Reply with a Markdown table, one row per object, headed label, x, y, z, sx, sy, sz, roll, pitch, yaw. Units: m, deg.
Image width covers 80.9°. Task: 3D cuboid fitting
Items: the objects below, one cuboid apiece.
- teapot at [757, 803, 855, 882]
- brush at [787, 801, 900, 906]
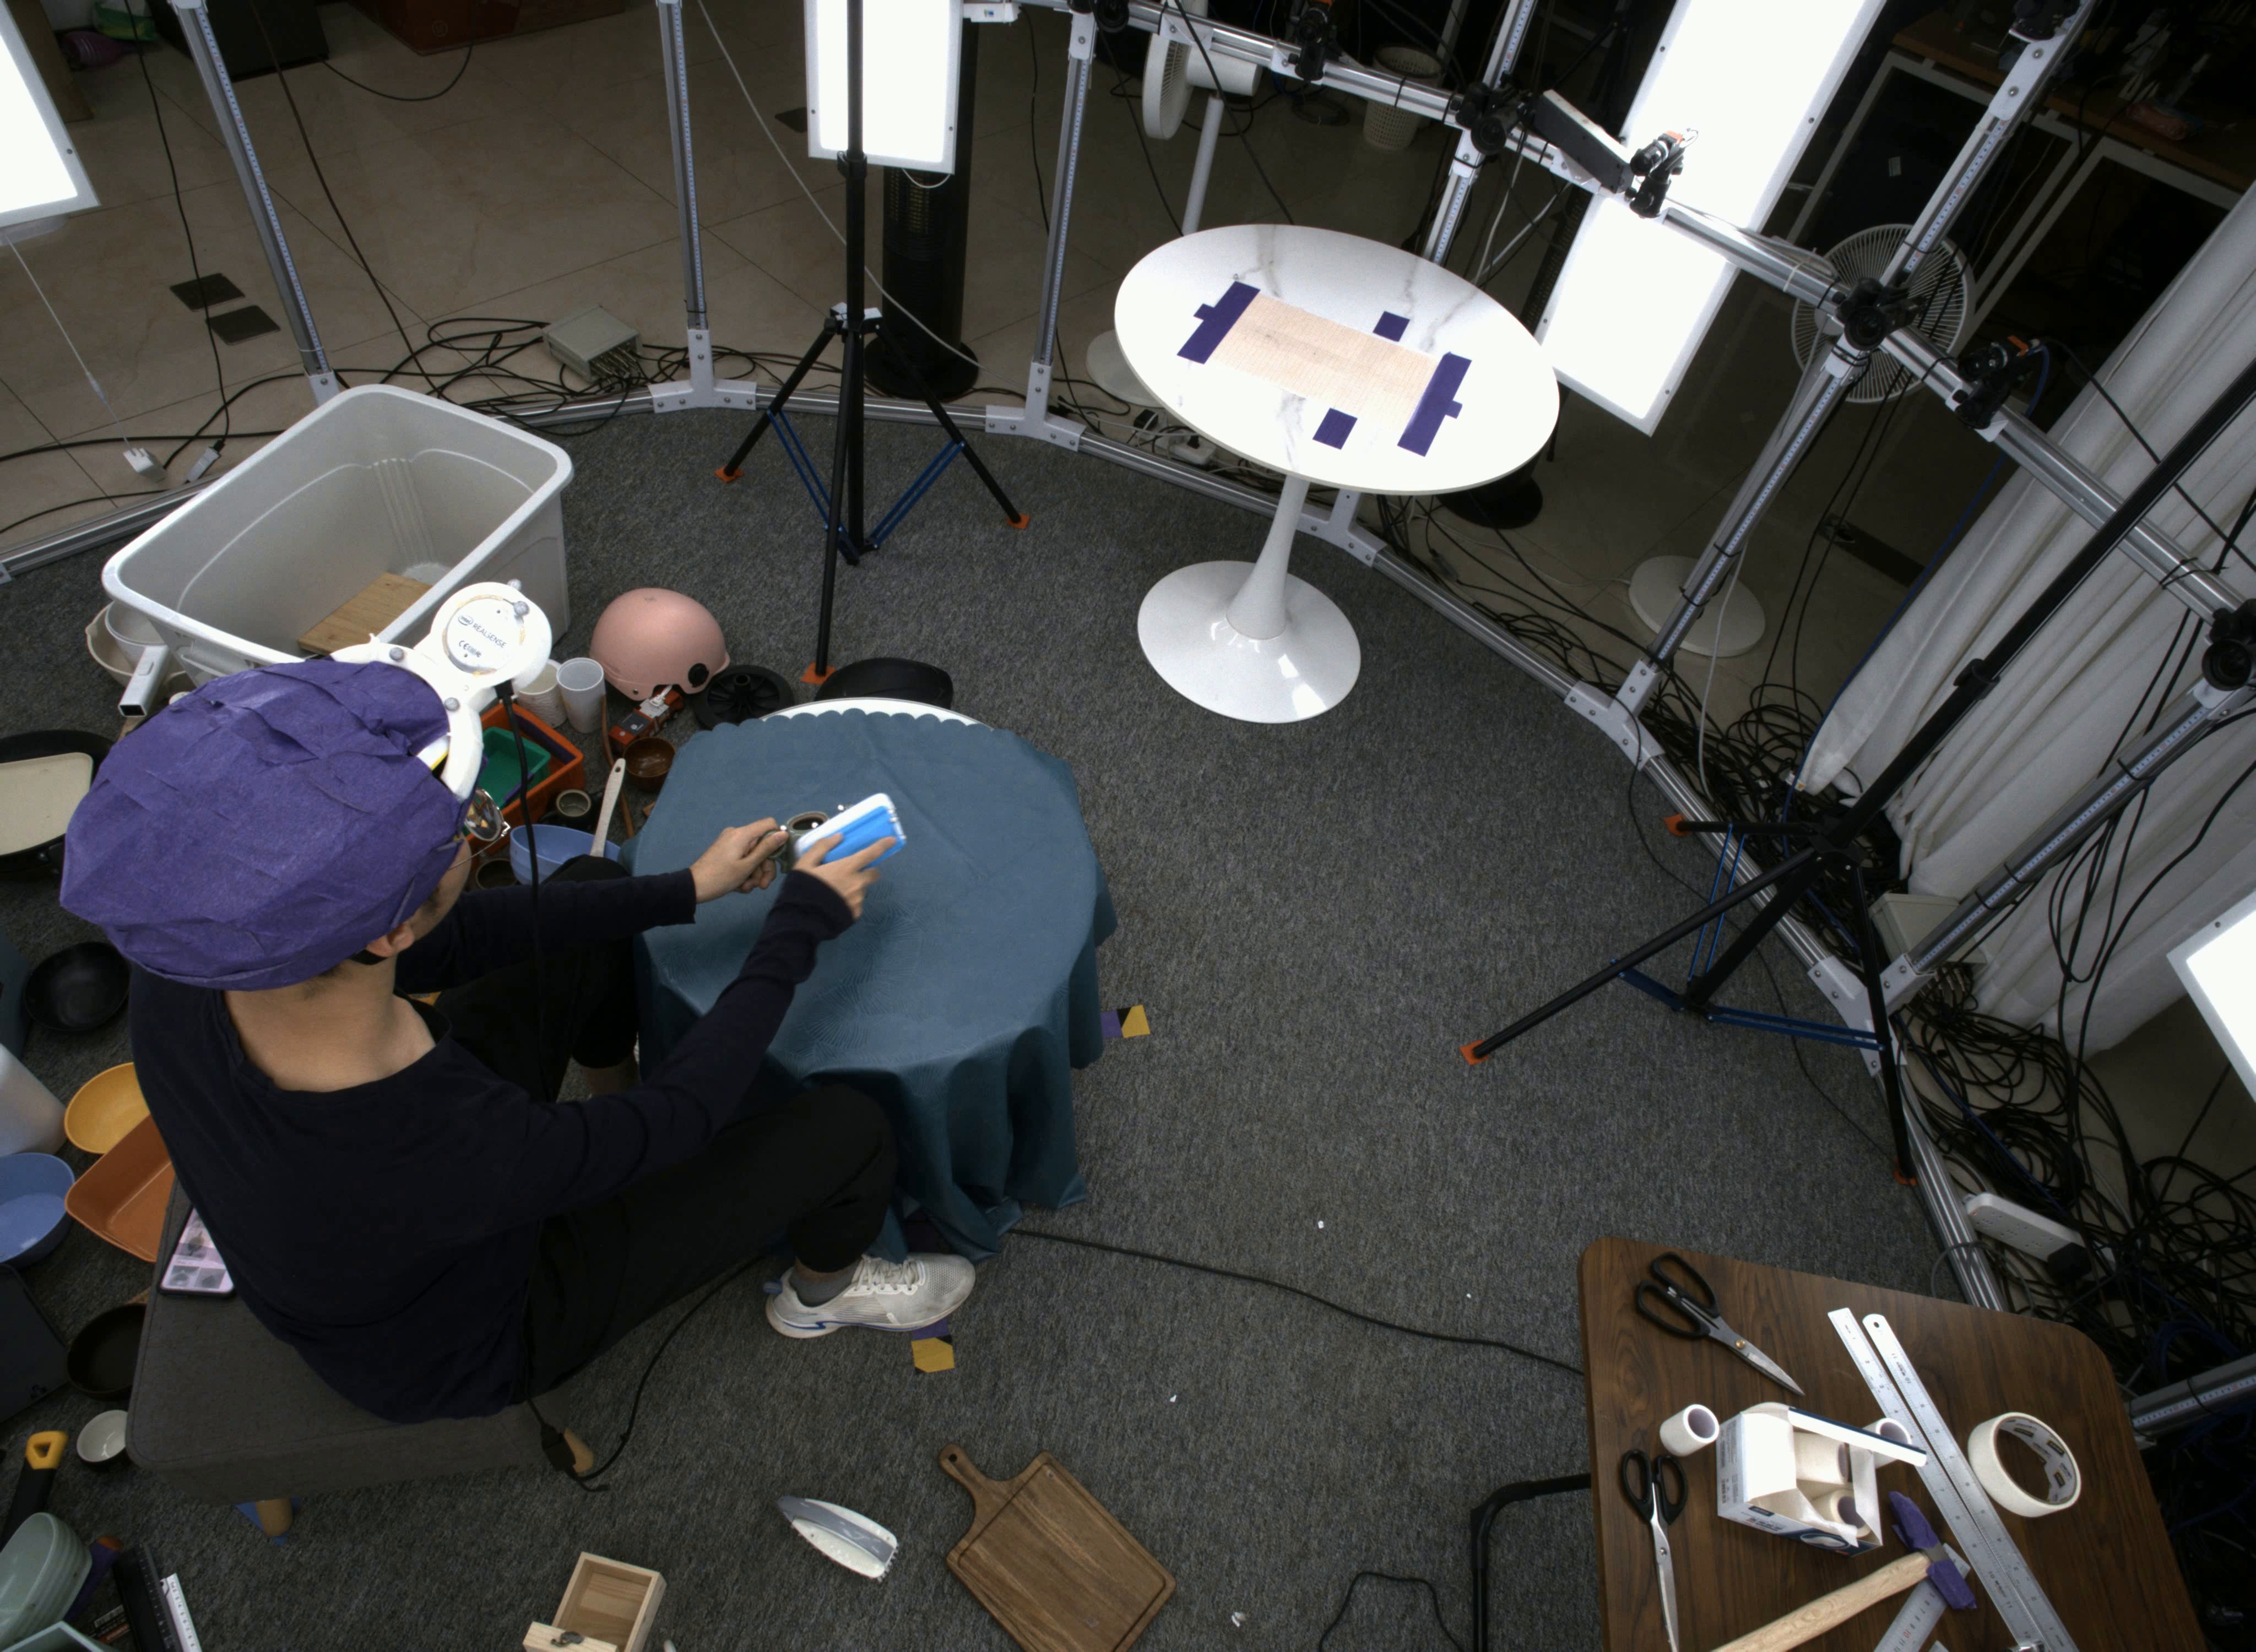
| label | x | y | z | sx | sy | sz | roll | pitch | yaw |
| --- | --- | --- | --- | --- | --- | --- | --- | --- | --- |
| teapot | -0.391 | 0.022 | 1.603 | 0.133 | 0.078 | 0.076 | -24 | 32 | -31 |
| brush | -0.337 | 0.031 | 1.568 | 0.054 | 0.086 | 0.144 | 5 | 31 | 48 |
